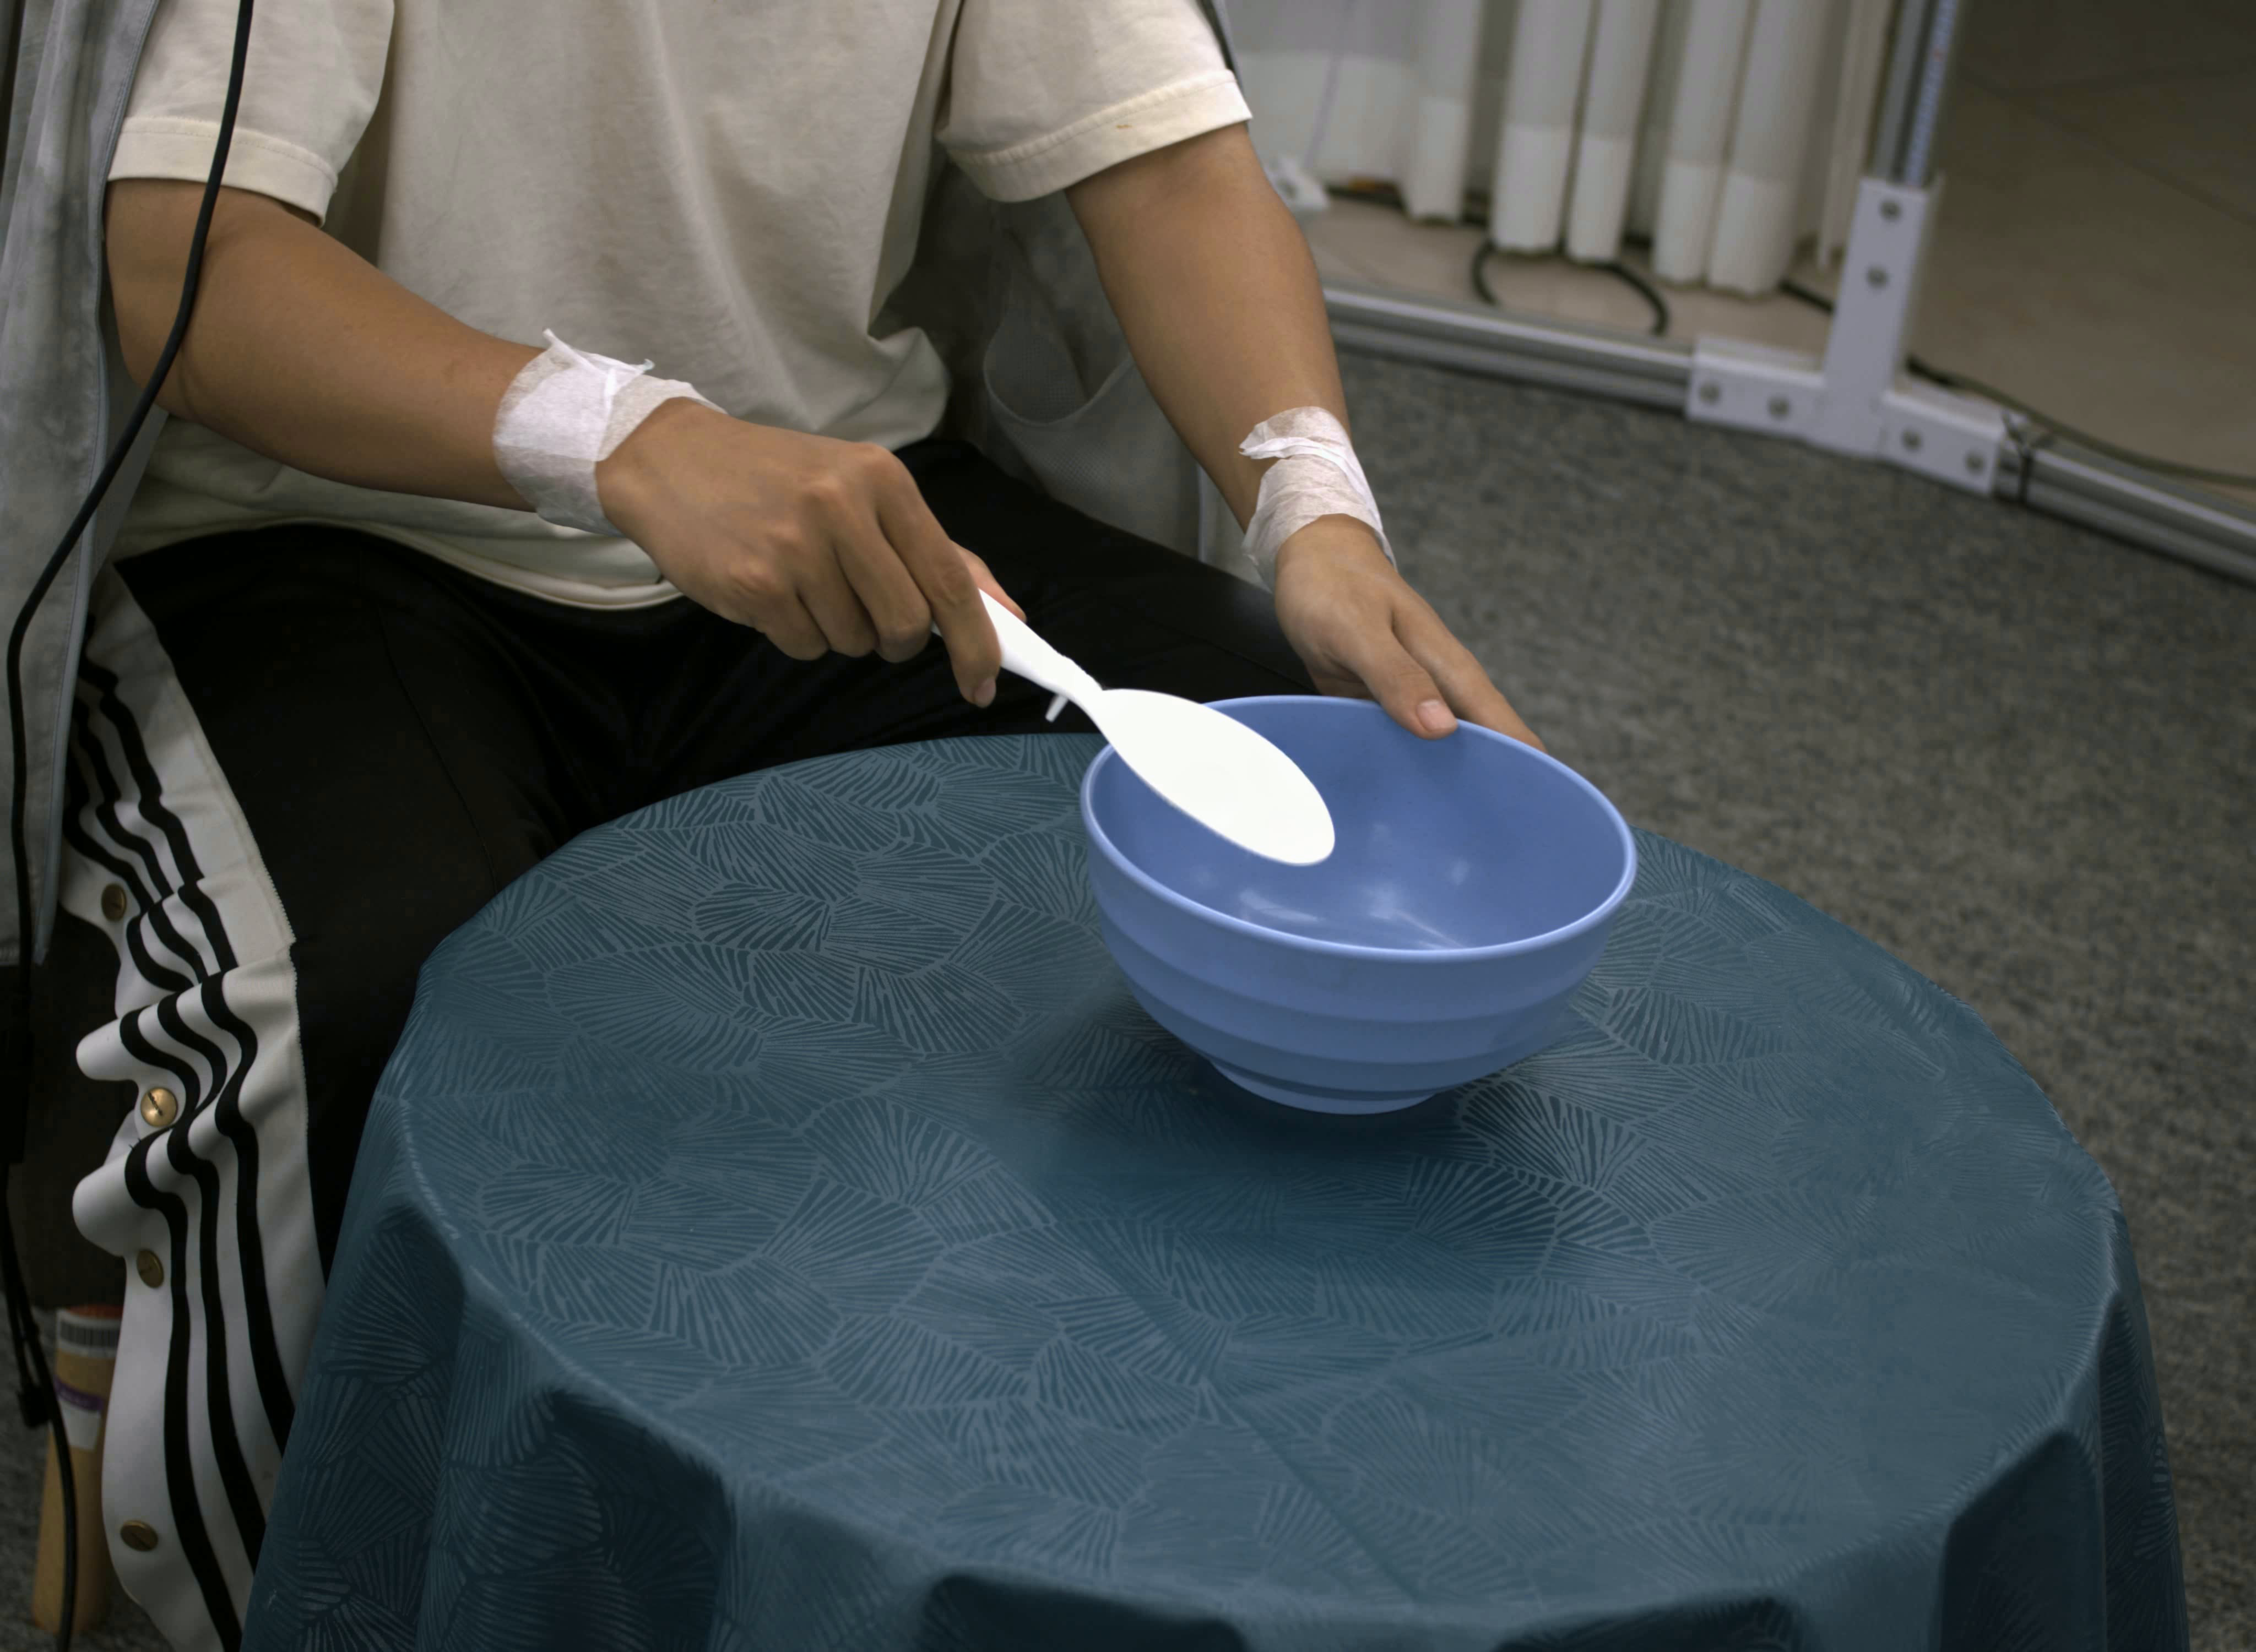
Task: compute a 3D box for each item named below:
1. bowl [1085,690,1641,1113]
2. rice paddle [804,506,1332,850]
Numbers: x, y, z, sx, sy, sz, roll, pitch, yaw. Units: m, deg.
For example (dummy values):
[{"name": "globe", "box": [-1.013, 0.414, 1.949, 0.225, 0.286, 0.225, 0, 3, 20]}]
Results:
[{"name": "bowl", "box": [0.078, 0.037, 1.885, 0.196, 0.095, 0.198, 5, 29, -3]}, {"name": "rice paddle", "box": [-0.016, -0.049, 1.847, 0.204, 0.029, 0.069, 29, 34, -7]}]
